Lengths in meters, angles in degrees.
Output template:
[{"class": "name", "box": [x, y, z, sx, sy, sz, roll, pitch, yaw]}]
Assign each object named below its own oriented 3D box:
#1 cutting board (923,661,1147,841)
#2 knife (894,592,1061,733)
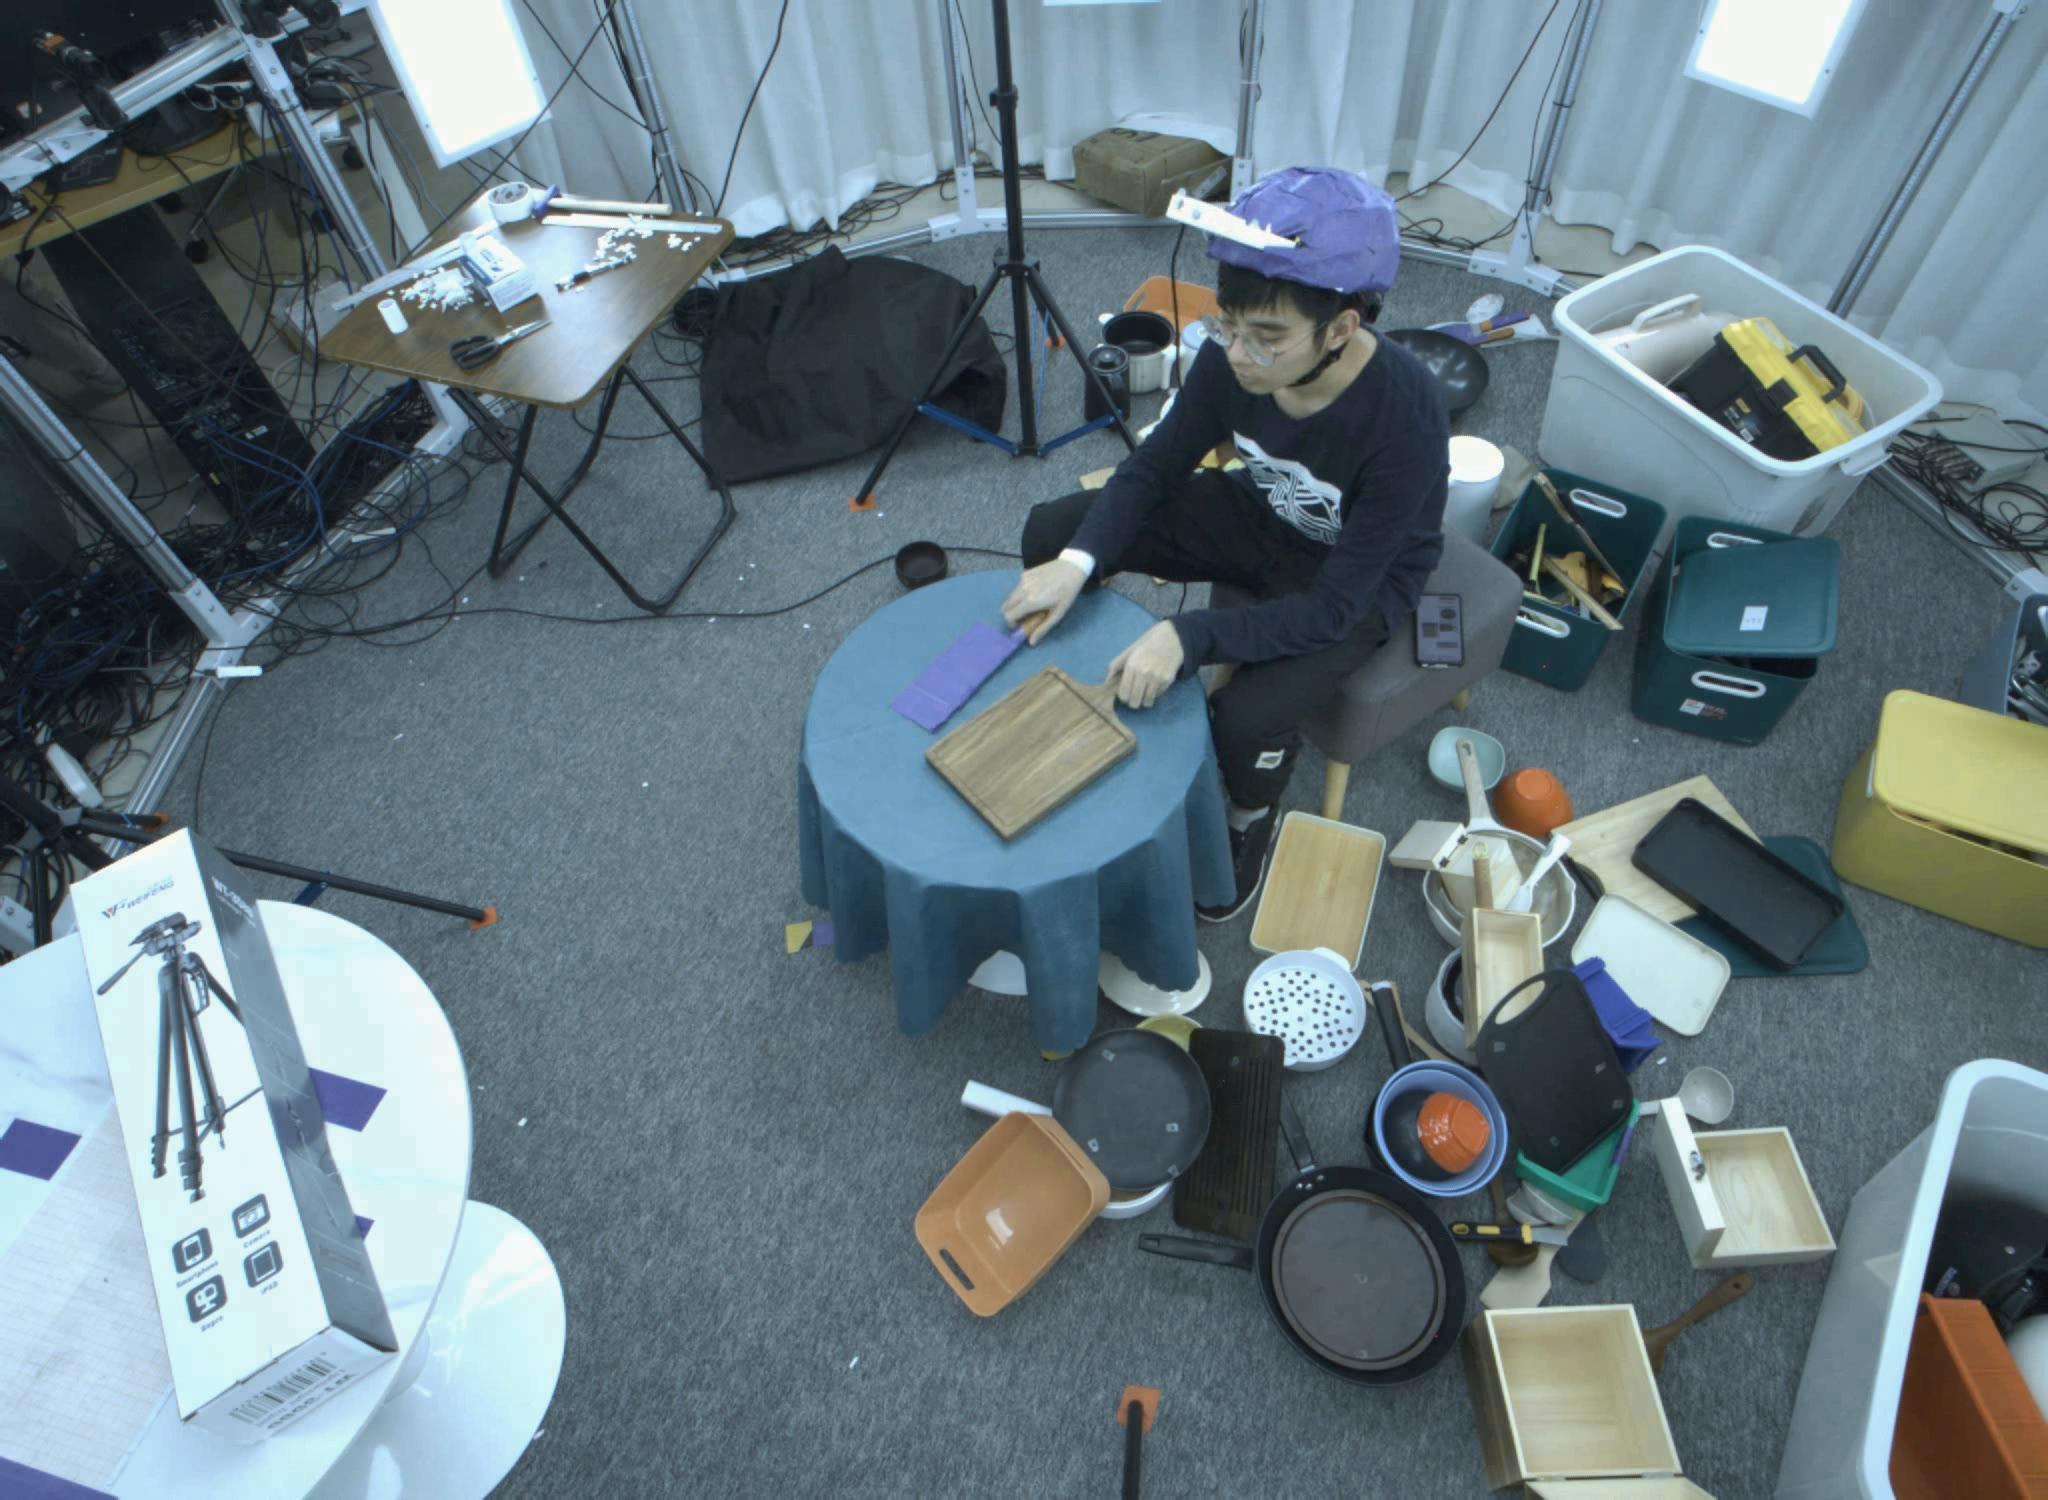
[{"class": "cutting board", "box": [0.047, -0.028, 1.798, 0.355, 0.023, 0.197, -35, 61, -21]}, {"class": "knife", "box": [-0.073, -0.151, 1.889, 0.102, 0.032, 0.317, 31, 61, 23]}]
